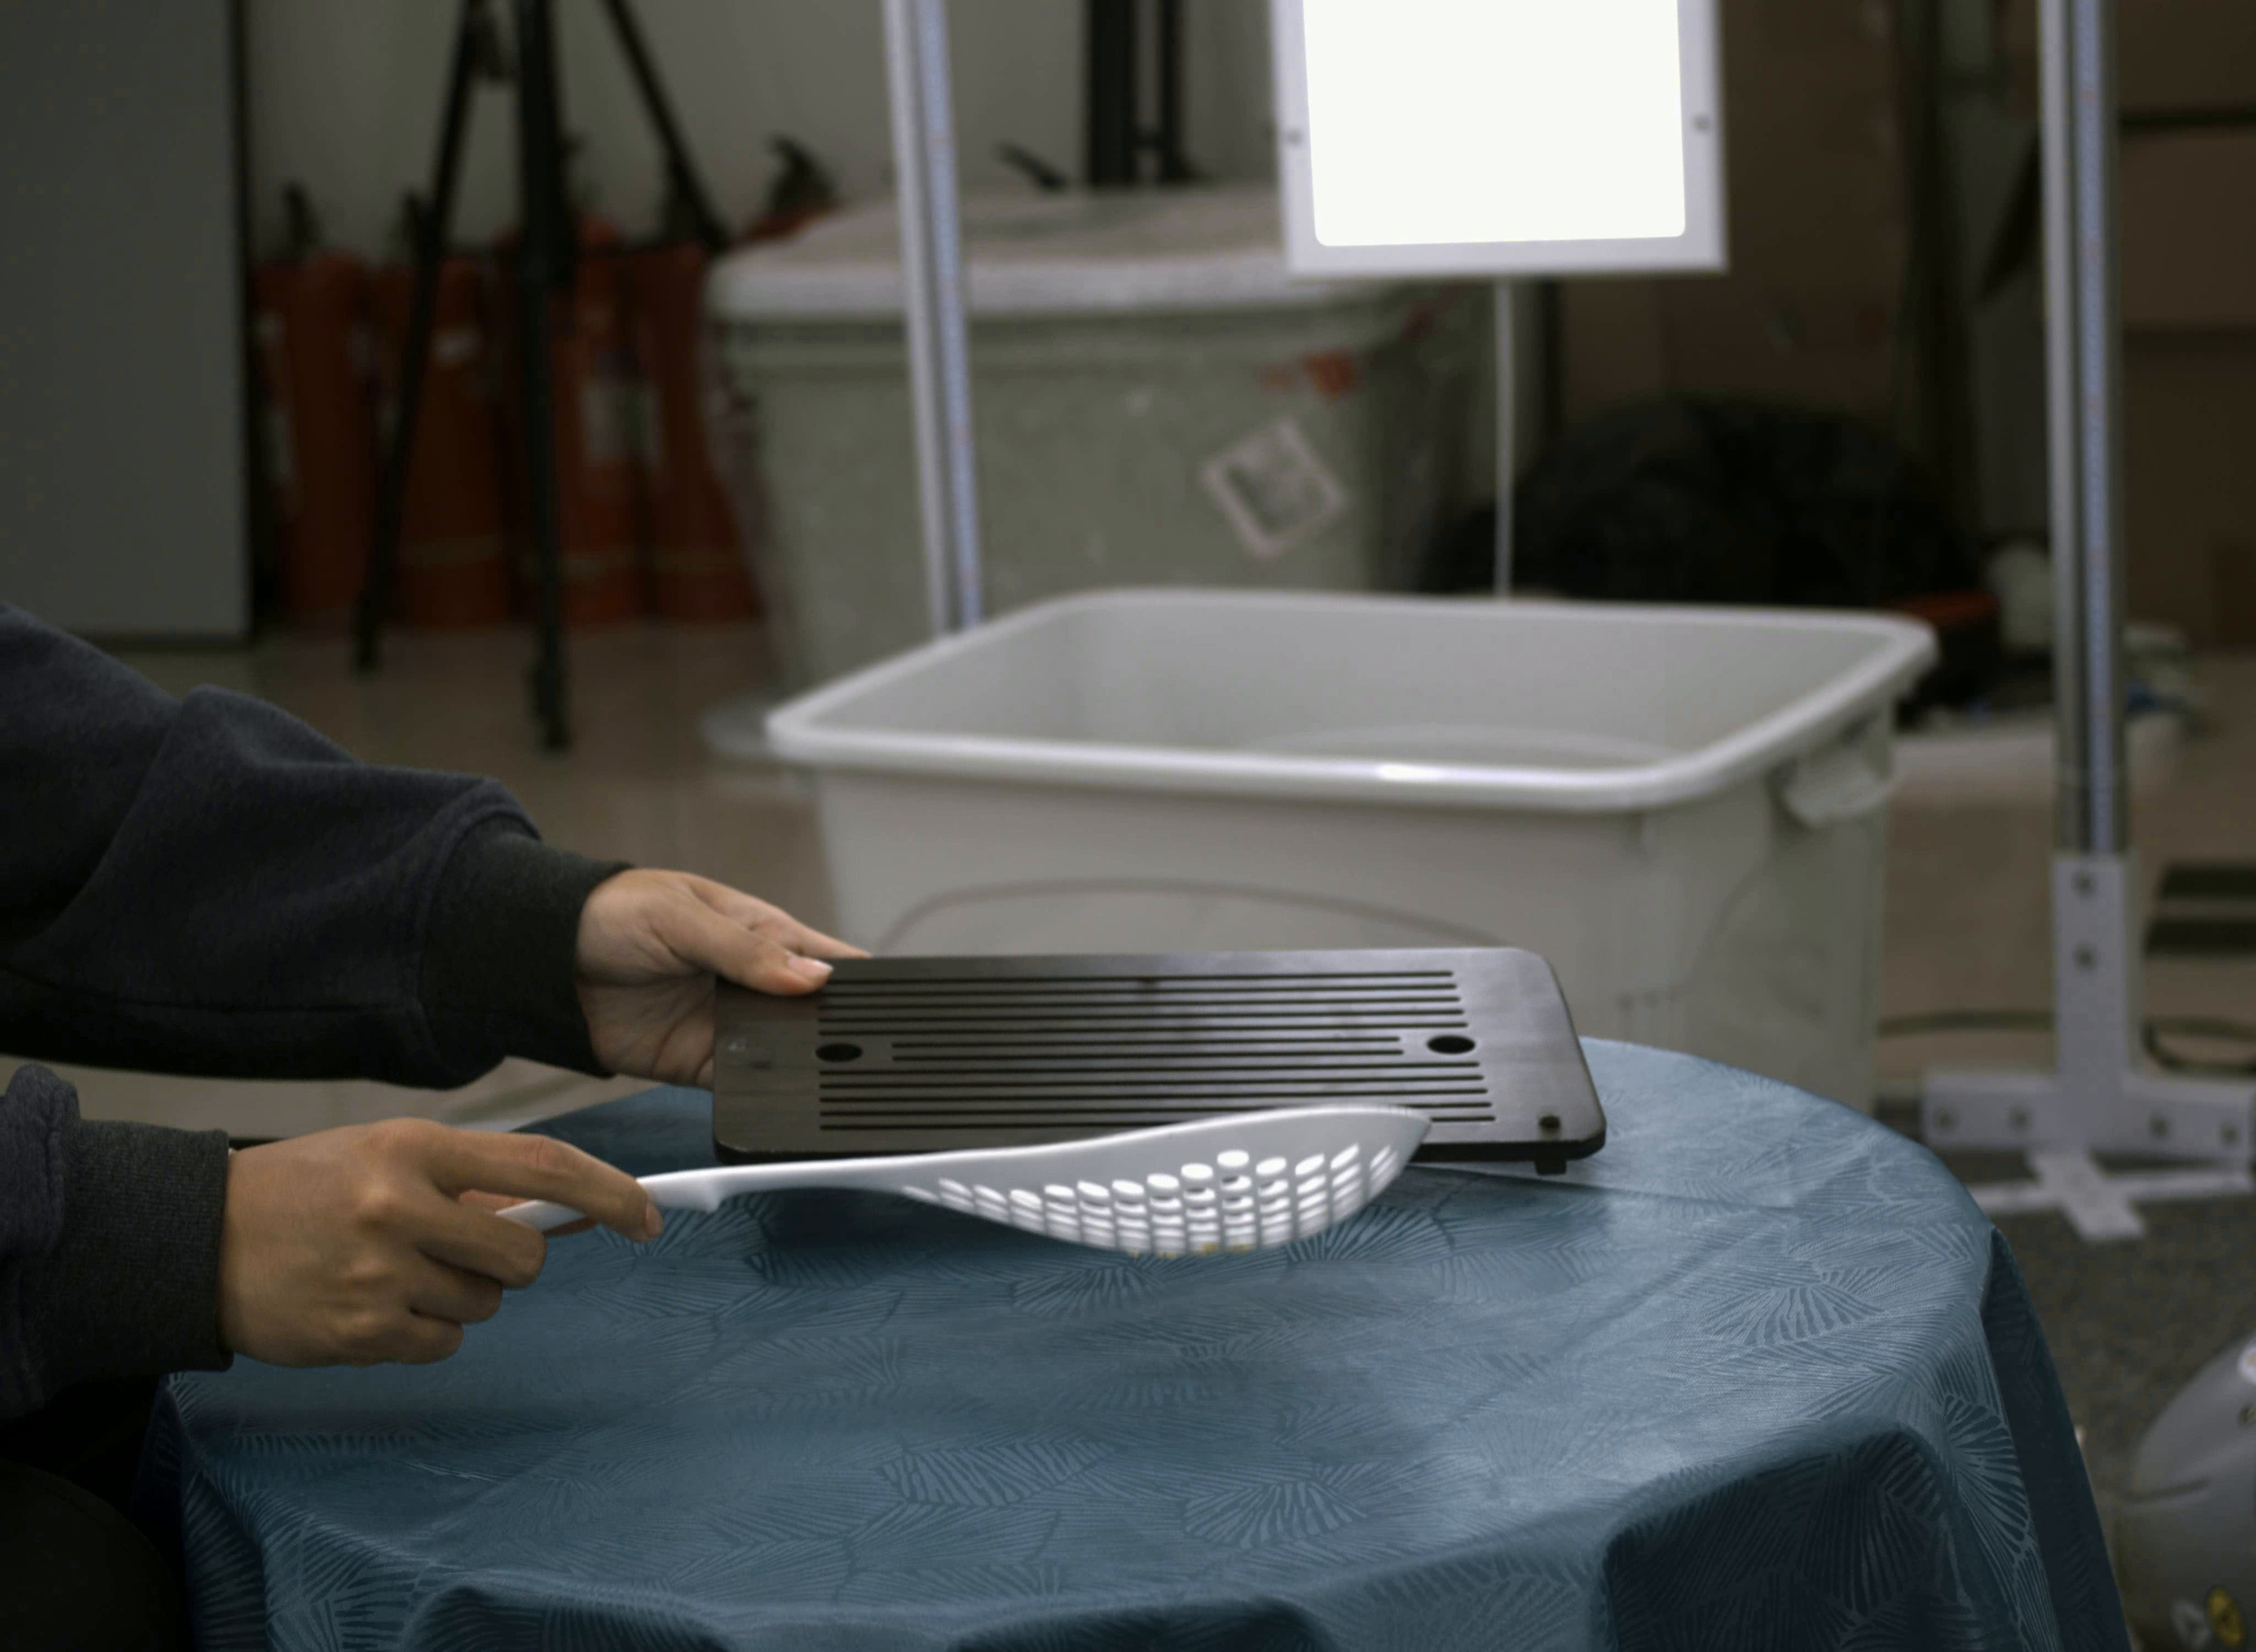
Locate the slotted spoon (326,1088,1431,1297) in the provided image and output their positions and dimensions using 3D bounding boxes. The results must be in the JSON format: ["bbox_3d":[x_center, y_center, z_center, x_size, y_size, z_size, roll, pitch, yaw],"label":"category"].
[{"bbox_3d":[-0.077,0.116,1.725,0.347,0.050,0.137,-2,-6,0],"label":"slotted spoon"}]

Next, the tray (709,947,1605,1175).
[{"bbox_3d":[0.007,0.082,1.928,0.305,0.019,0.170,-1,21,-1],"label":"tray"}]
